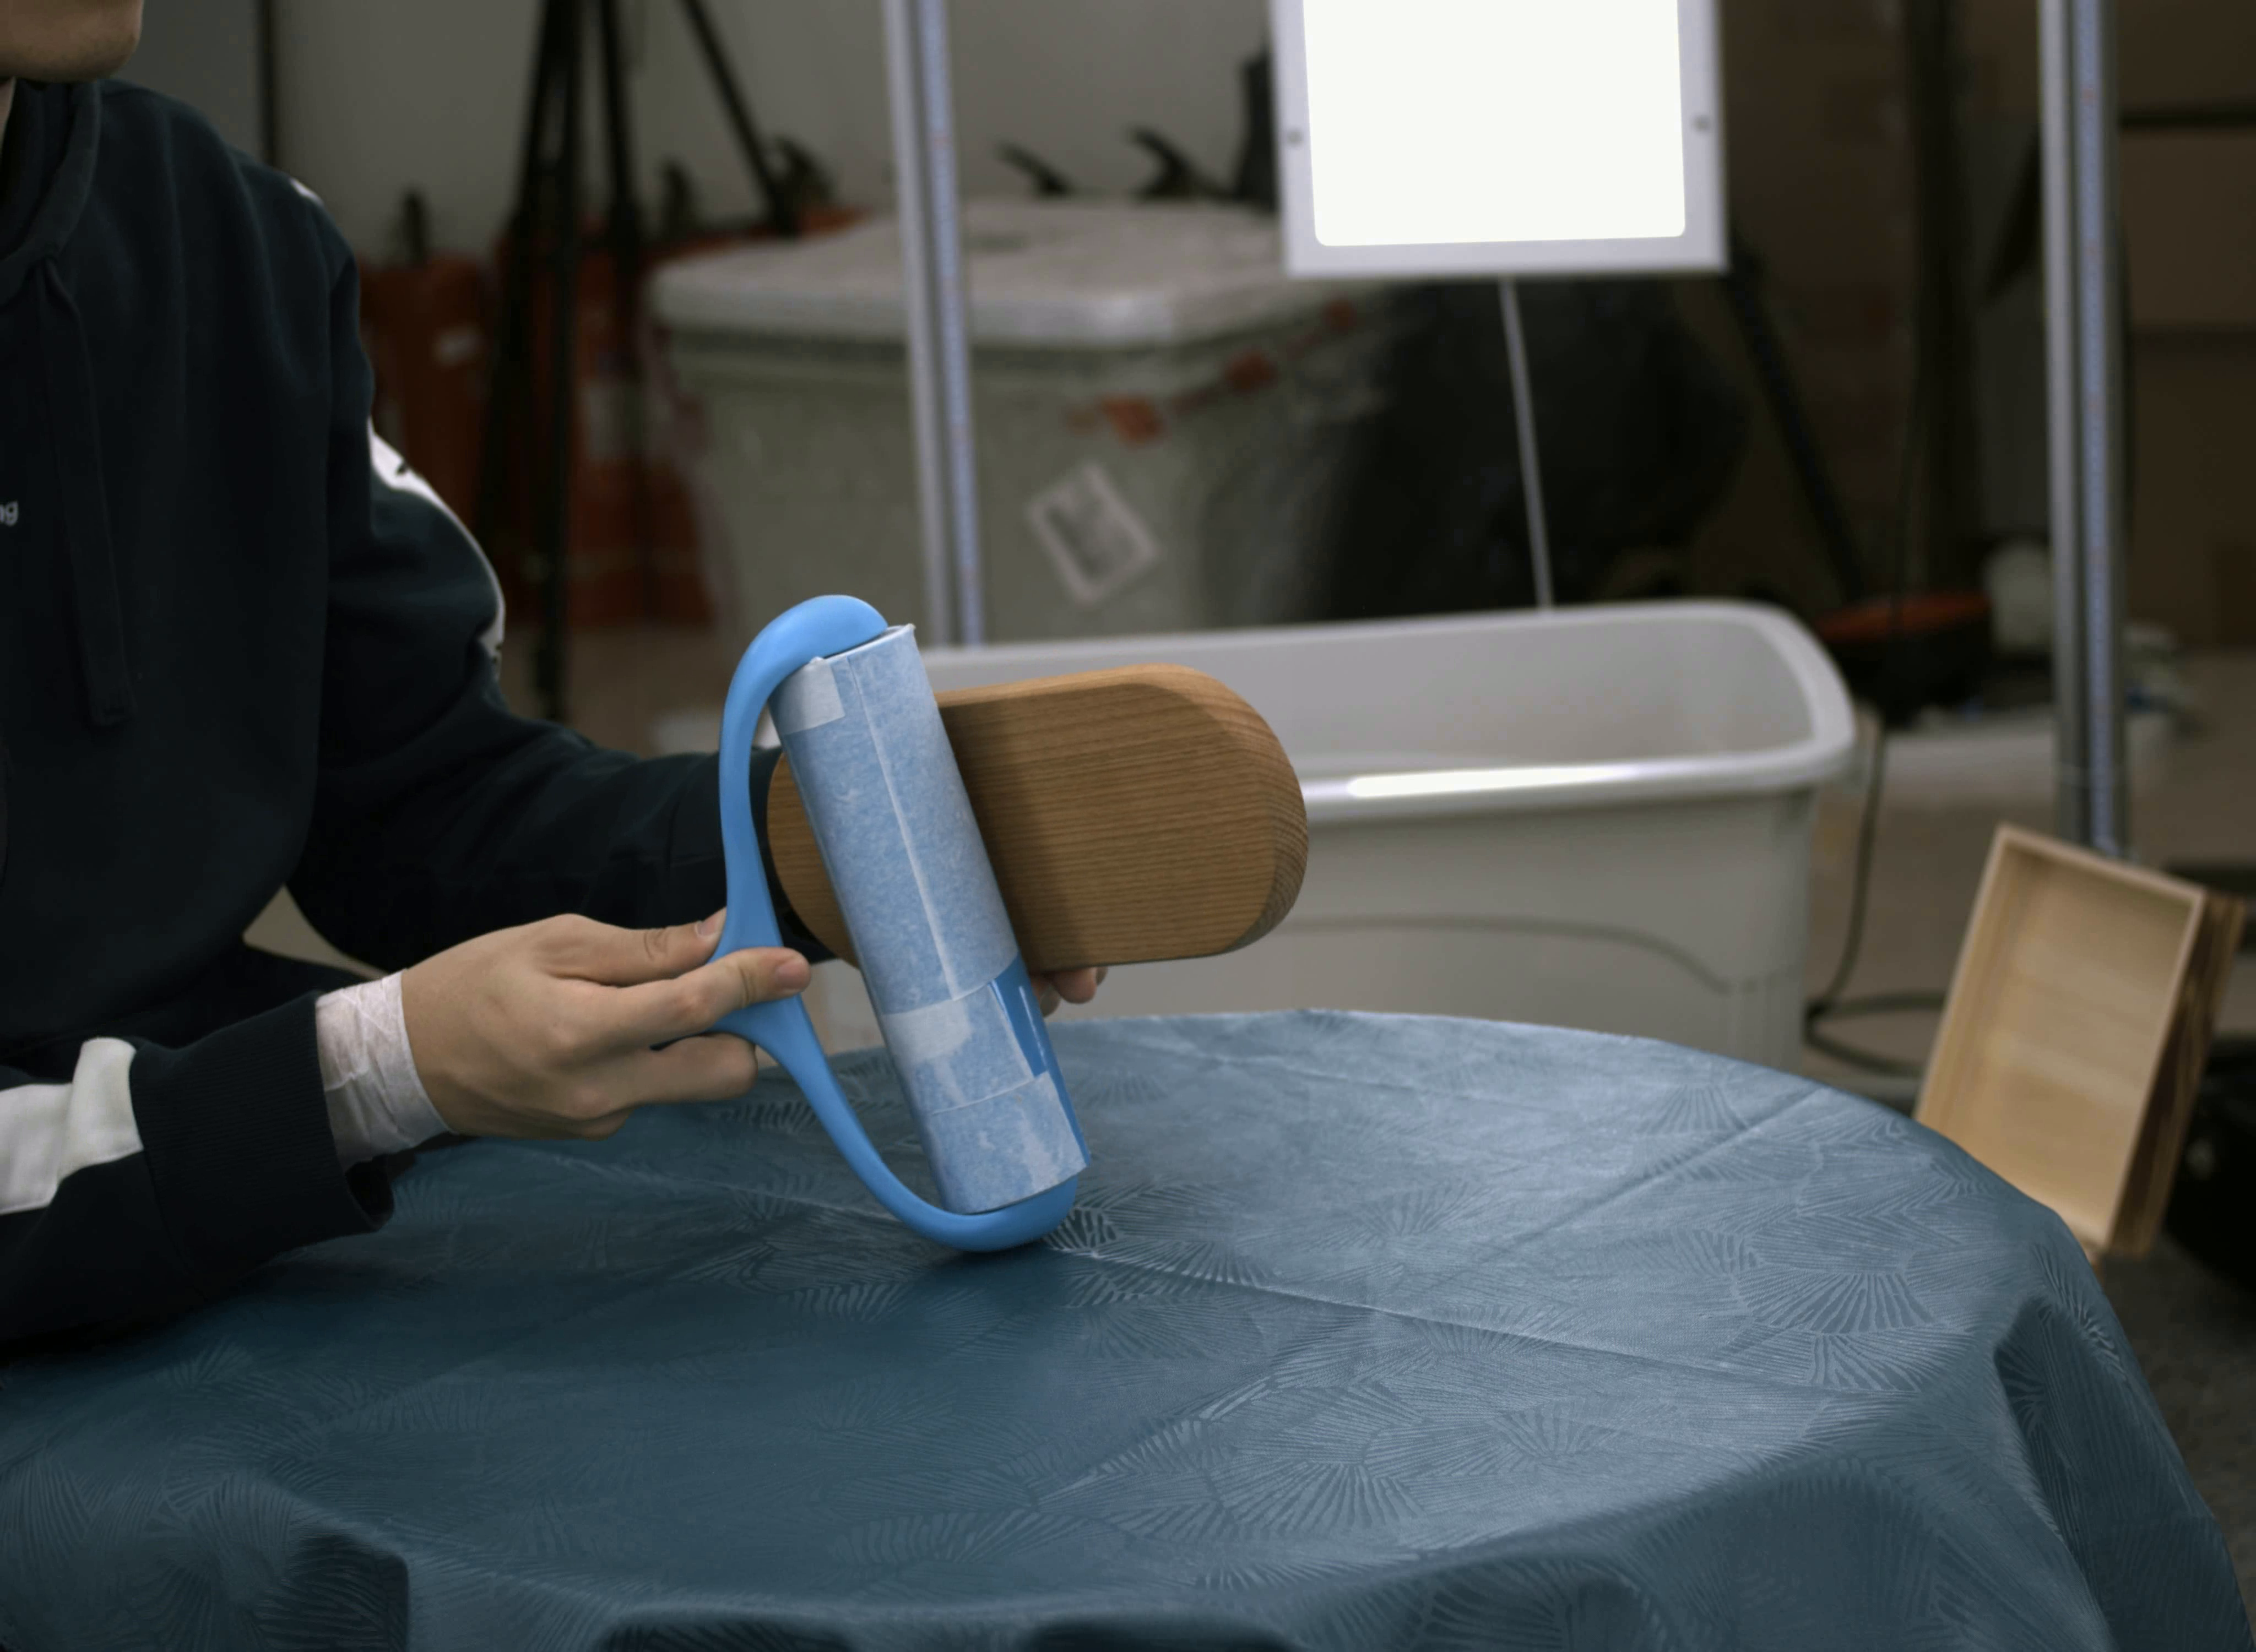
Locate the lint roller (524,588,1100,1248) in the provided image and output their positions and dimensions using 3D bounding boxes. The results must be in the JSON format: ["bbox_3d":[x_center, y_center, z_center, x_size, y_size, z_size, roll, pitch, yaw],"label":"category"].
[{"bbox_3d":[-0.121,0.052,1.845,0.181,0.229,0.067,-21,8,9],"label":"lint roller"}]

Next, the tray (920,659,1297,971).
[{"bbox_3d":[-0.038,0.000,1.844,0.236,0.102,0.020,-6,13,41],"label":"tray"}]
